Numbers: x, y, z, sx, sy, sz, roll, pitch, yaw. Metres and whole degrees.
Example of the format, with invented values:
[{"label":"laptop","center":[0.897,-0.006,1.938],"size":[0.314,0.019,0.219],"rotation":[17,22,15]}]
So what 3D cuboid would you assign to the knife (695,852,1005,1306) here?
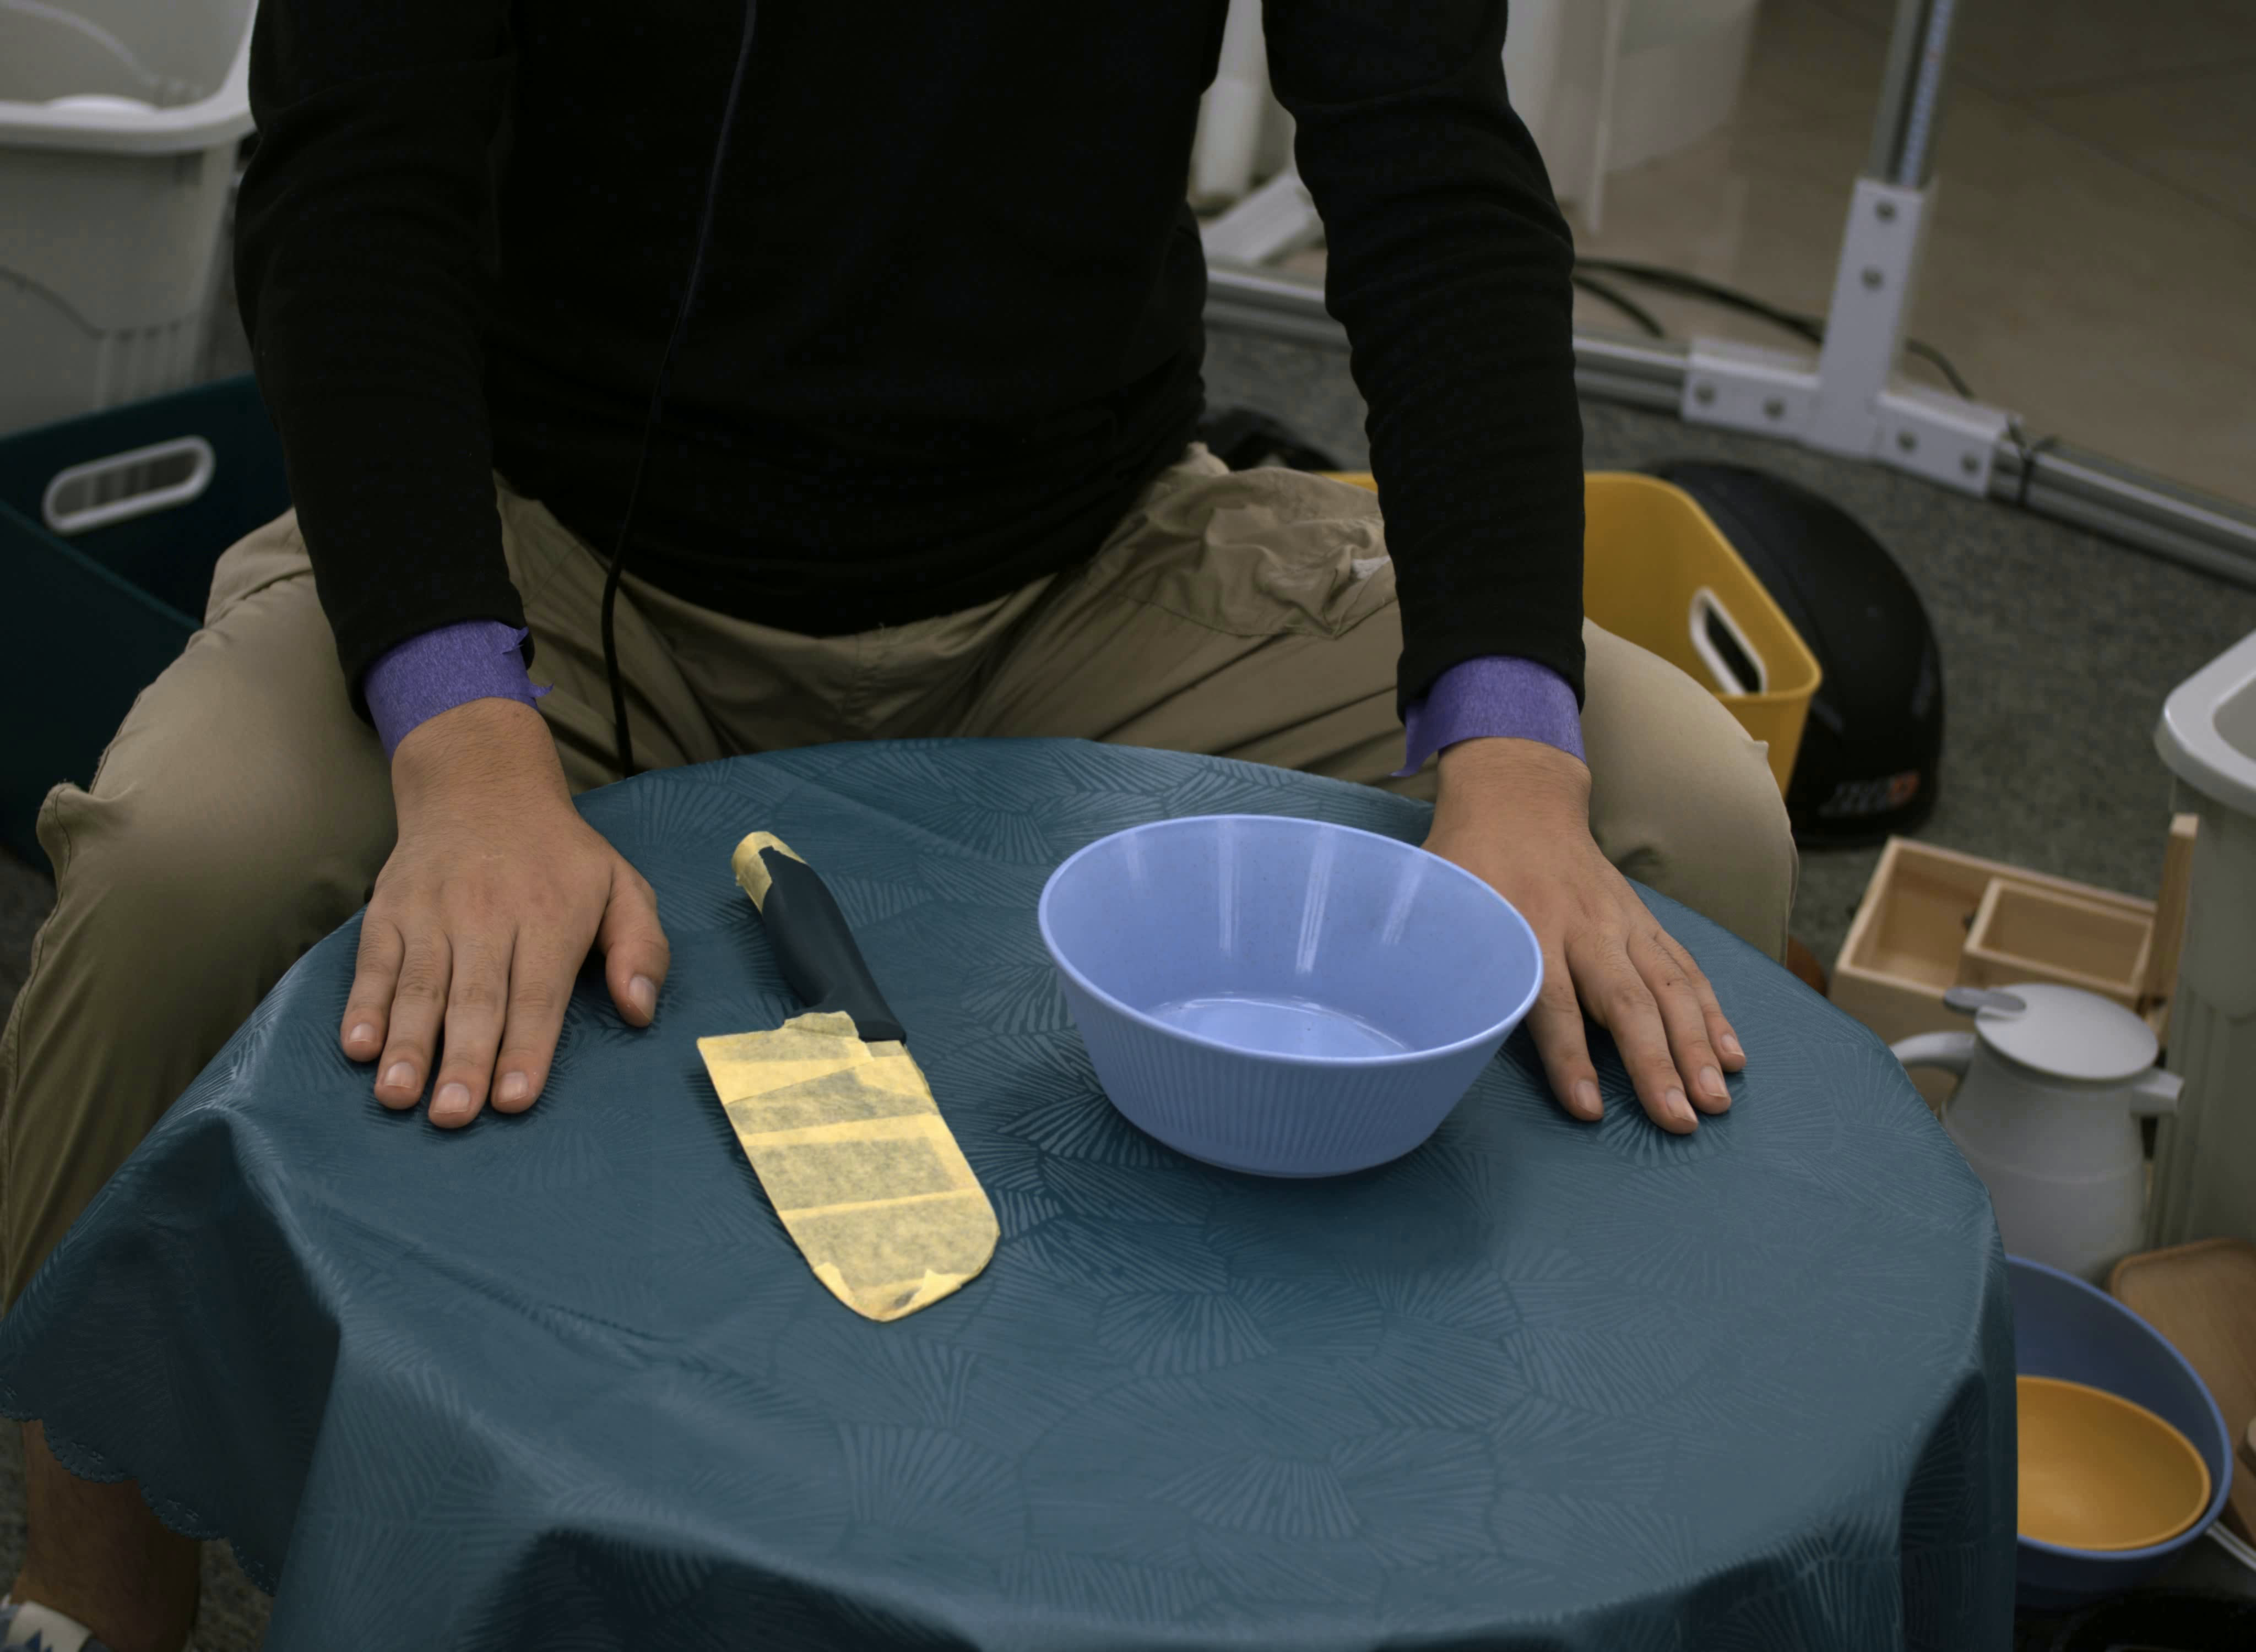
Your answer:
[{"label":"knife","center":[-0.107,0.086,1.841],"size":[0.080,0.027,0.292],"rotation":[-1,29,-18]}]

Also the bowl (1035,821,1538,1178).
[{"label":"bowl","center":[0.052,0.066,1.855],"size":[0.175,0.070,0.177],"rotation":[5,27,-3]}]
